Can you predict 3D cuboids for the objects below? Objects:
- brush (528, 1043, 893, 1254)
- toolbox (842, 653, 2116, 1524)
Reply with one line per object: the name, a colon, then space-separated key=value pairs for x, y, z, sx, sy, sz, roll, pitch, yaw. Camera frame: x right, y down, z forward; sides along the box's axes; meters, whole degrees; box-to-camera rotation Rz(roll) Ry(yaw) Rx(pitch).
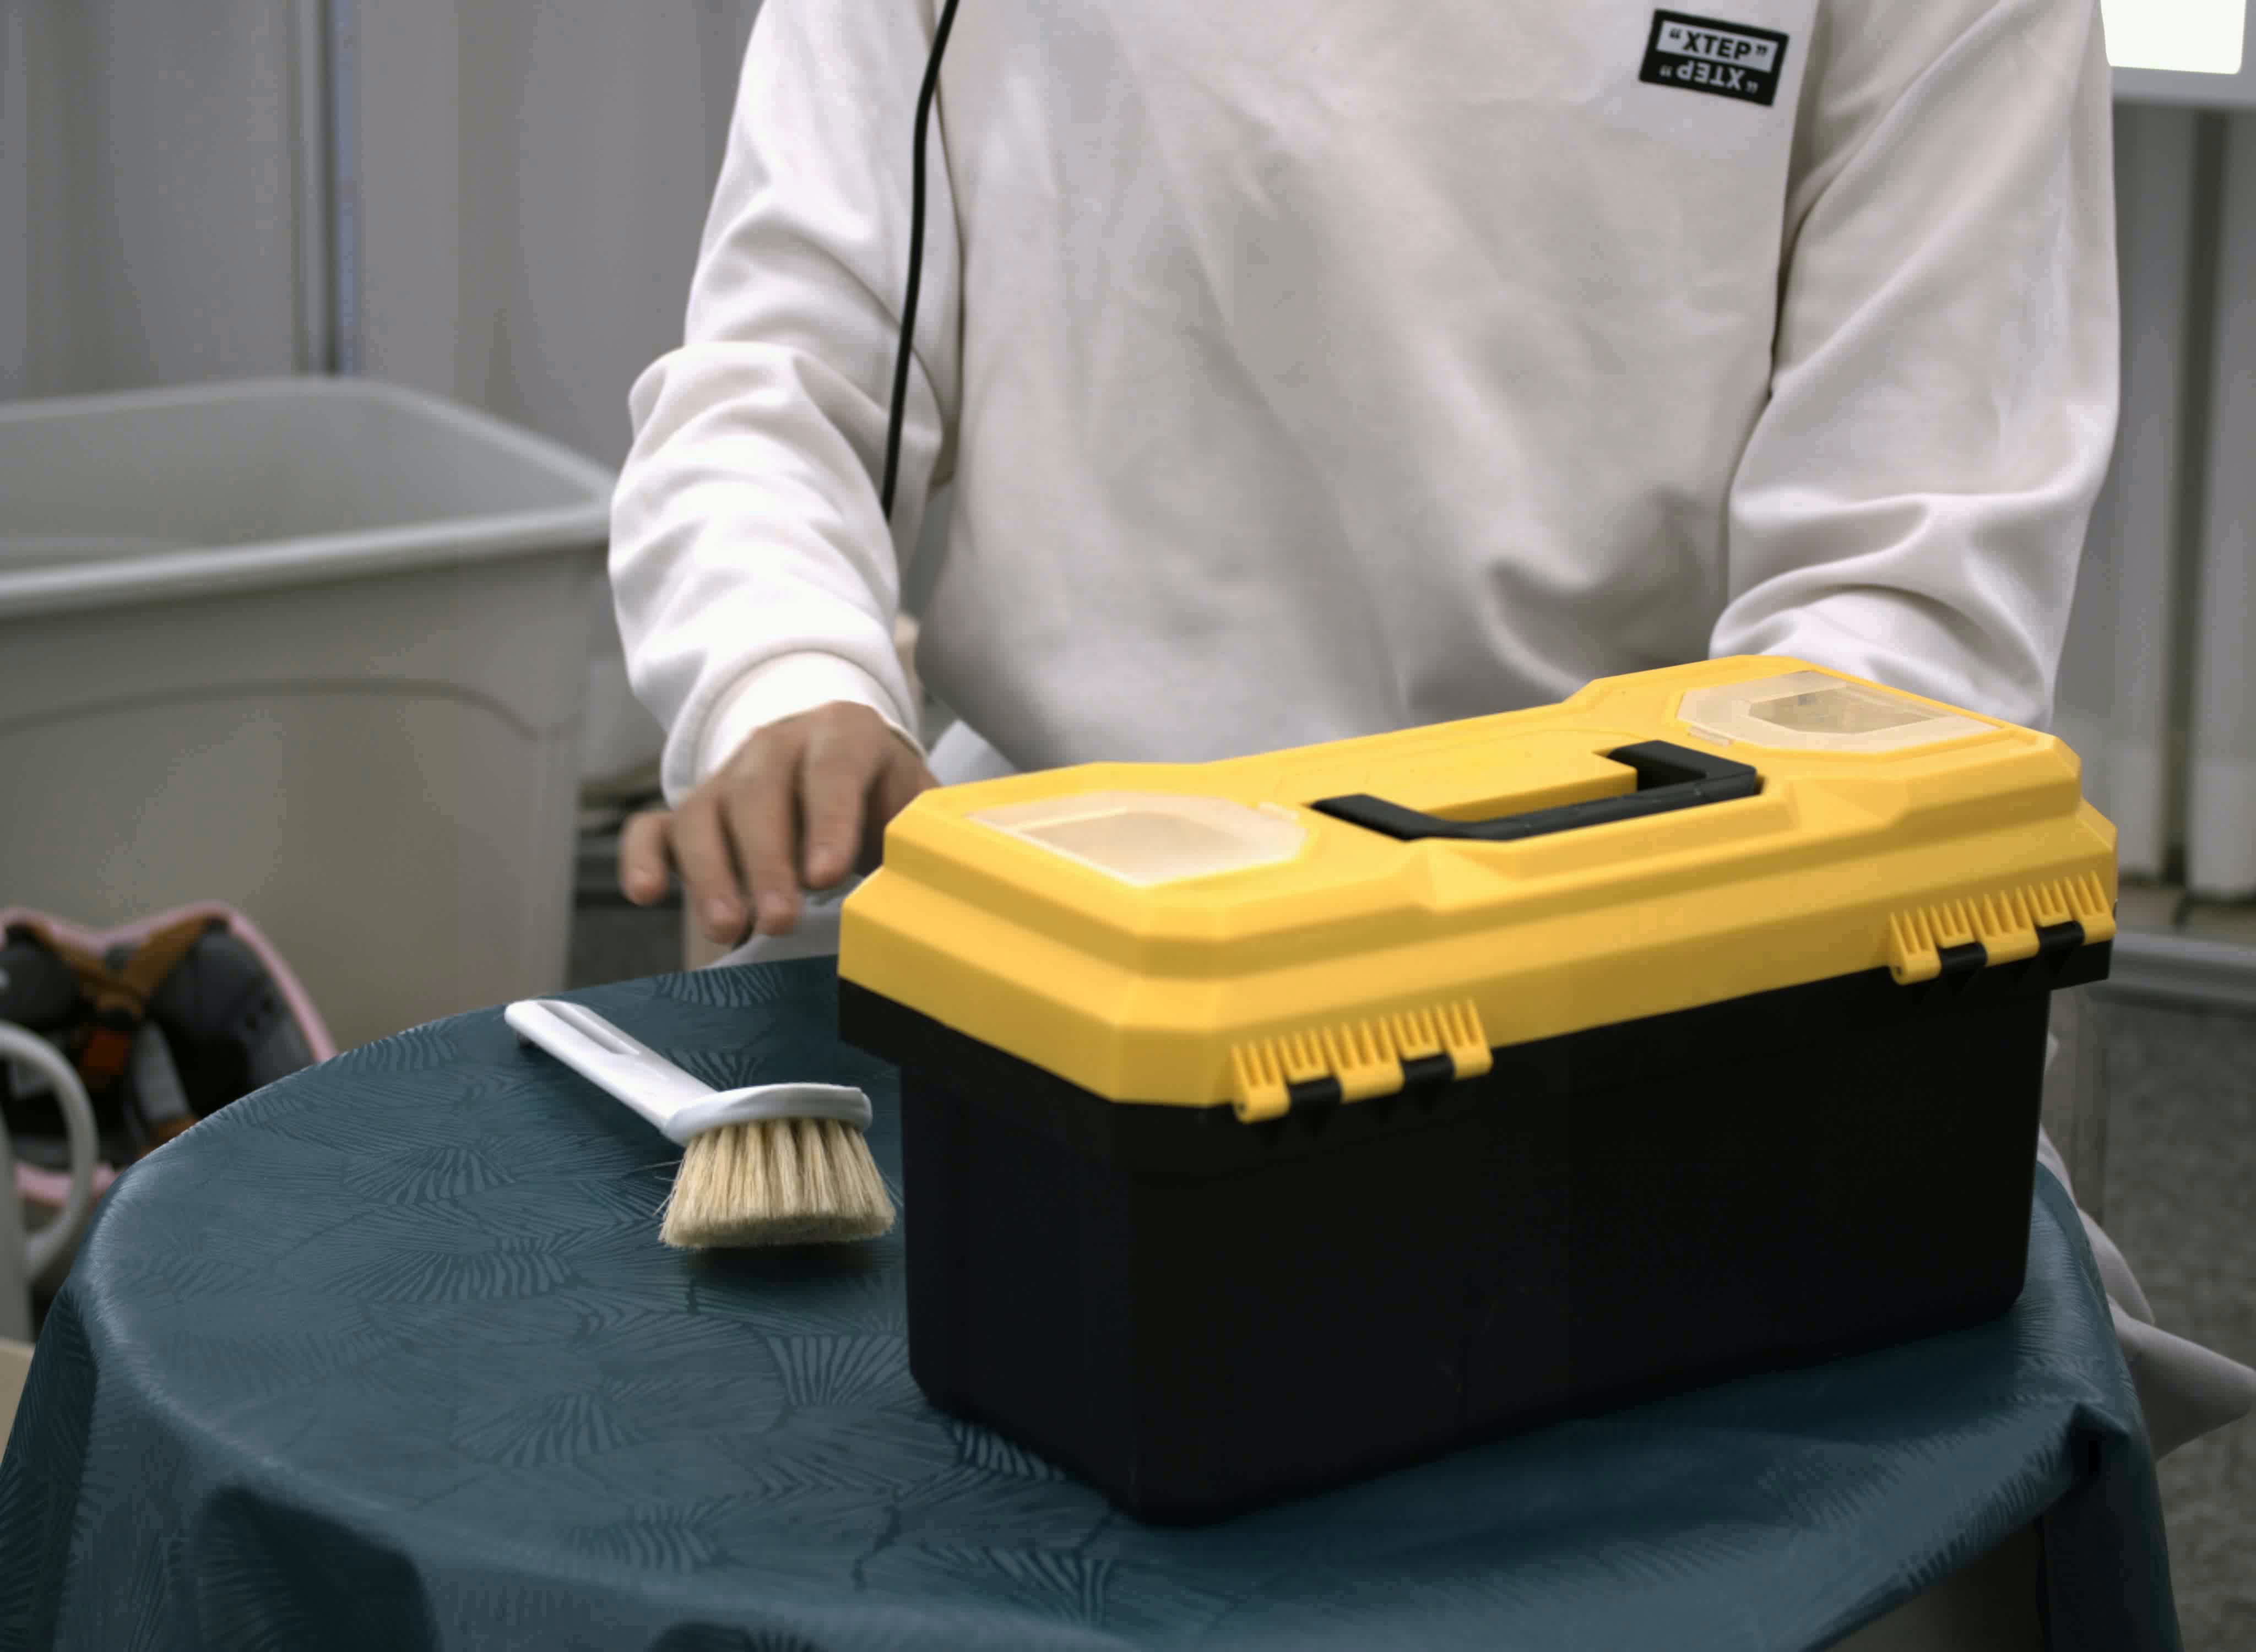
brush: x=-0.141 y=0.099 z=1.651 sx=0.069 sy=0.056 sz=0.264 roll=17 pitch=-8 yaw=-24
toolbox: x=0.101 y=0.066 z=1.478 sx=0.353 sy=0.174 sz=0.179 roll=-9 pitch=20 yaw=-34
